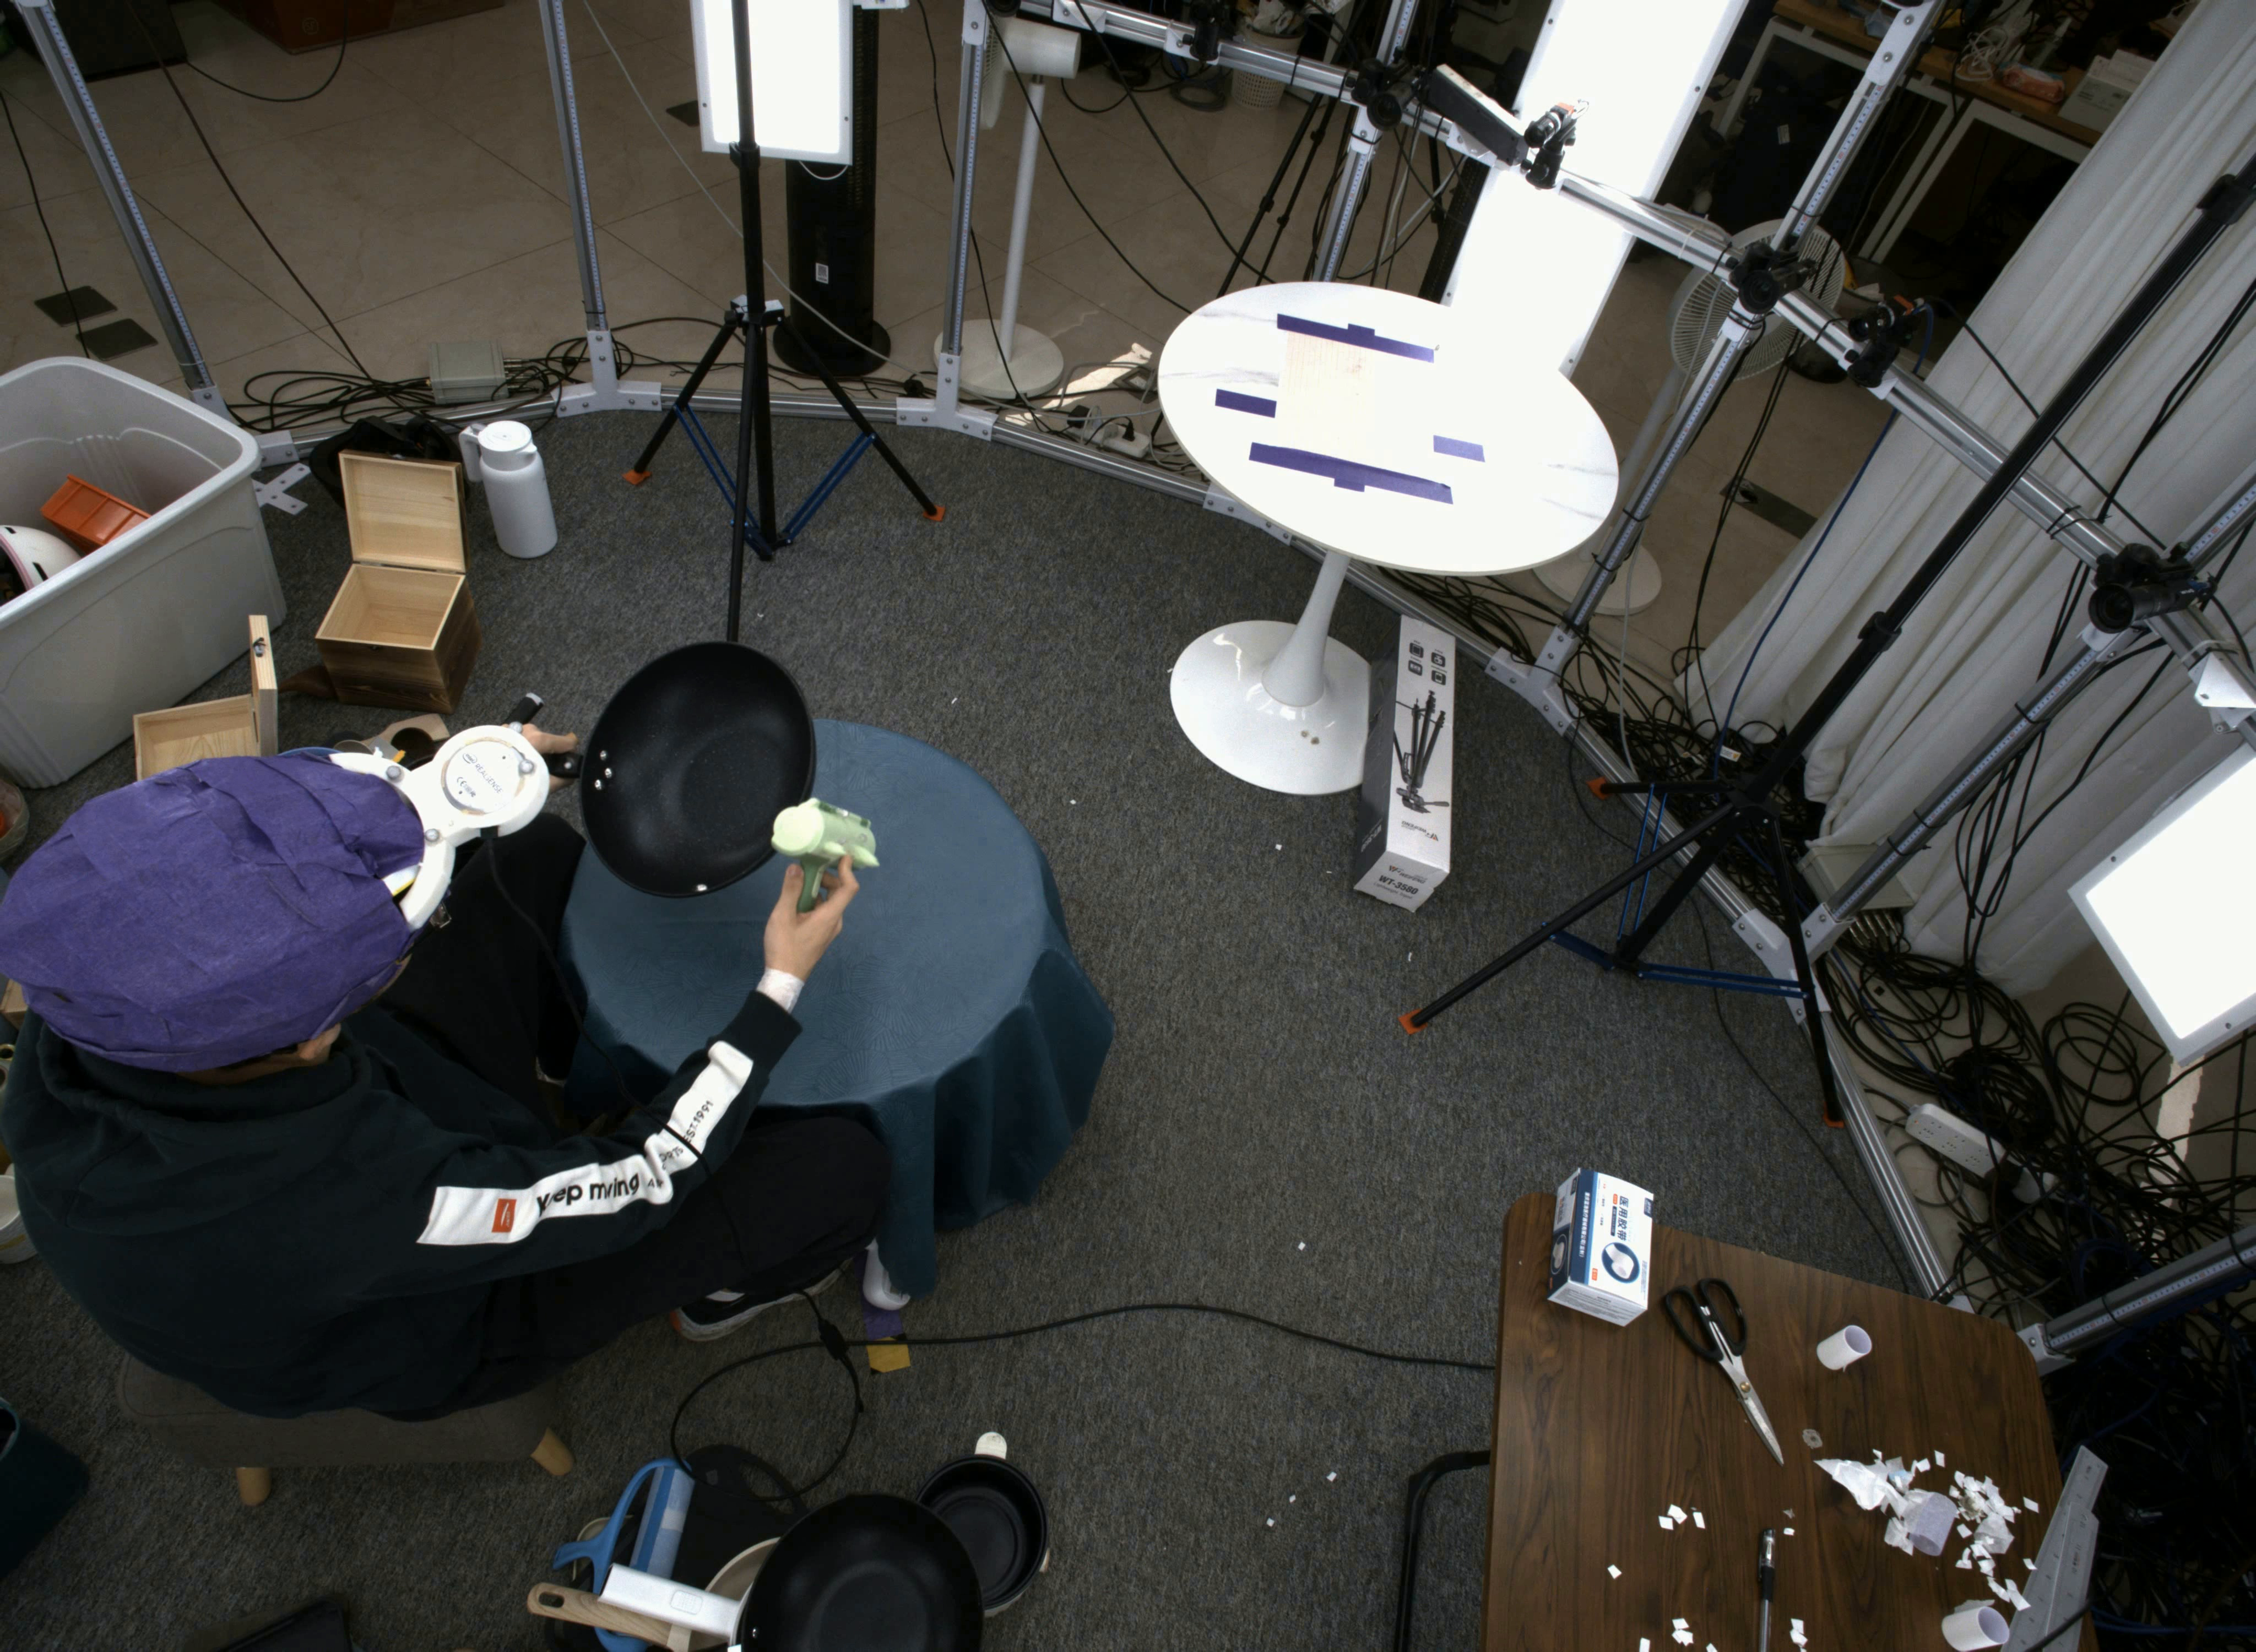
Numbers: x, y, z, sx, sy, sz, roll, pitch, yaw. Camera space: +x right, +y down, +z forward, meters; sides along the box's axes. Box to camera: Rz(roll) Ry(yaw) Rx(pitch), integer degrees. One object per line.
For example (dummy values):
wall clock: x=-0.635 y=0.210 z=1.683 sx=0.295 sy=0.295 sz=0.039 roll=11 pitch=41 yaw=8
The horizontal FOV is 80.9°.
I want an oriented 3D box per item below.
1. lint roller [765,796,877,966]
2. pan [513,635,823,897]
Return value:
lint roller: x=-0.344 y=0.070 z=1.438 sx=0.081 sy=0.201 sz=0.184 roll=12 pitch=84 yaw=8
pan: x=-0.565 y=-0.067 z=1.519 sx=0.466 sy=0.114 sz=0.310 roll=1 pitch=76 yaw=13
